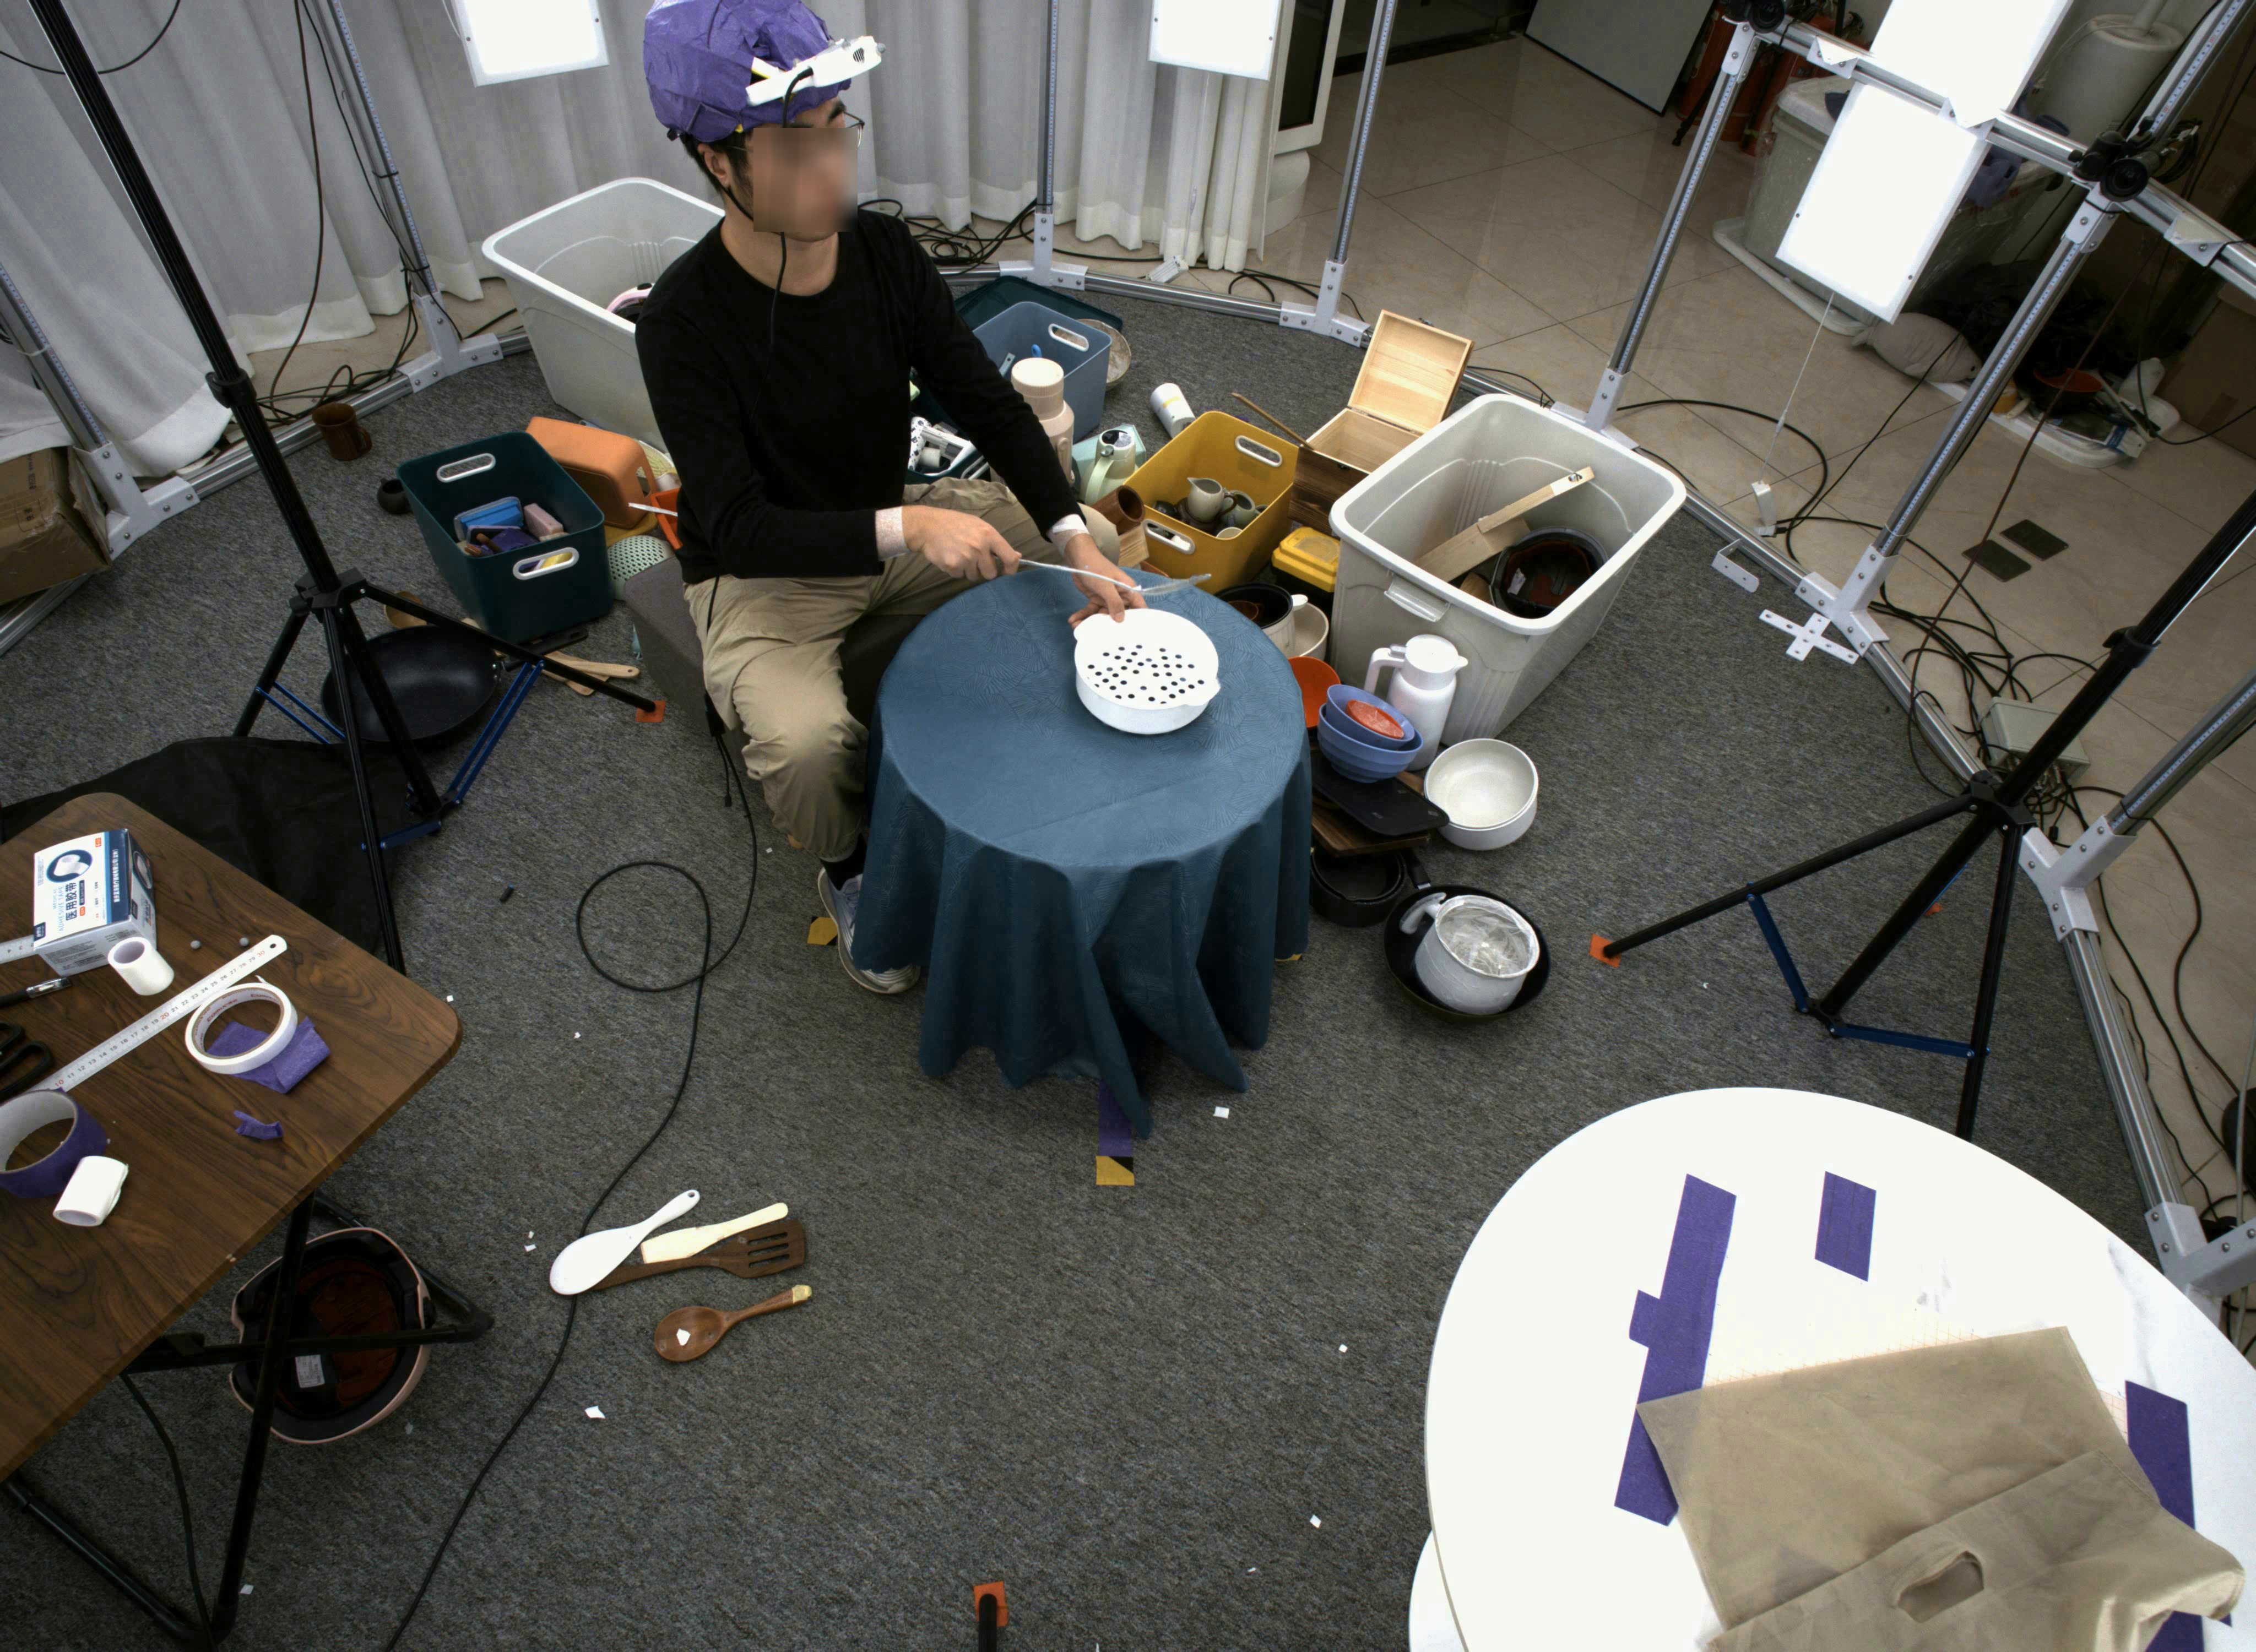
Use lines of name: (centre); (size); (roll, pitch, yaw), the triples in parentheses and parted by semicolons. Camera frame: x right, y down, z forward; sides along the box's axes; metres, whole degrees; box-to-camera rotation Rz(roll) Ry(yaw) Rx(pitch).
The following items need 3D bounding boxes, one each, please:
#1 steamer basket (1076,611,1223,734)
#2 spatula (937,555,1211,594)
steamer basket: (0.028, -0.215, 1.813); (0.233, 0.067, 0.204); (32, 54, 23)
spatula: (-0.071, -0.347, 1.724); (0.364, 0.044, 0.099); (8, 8, -5)
